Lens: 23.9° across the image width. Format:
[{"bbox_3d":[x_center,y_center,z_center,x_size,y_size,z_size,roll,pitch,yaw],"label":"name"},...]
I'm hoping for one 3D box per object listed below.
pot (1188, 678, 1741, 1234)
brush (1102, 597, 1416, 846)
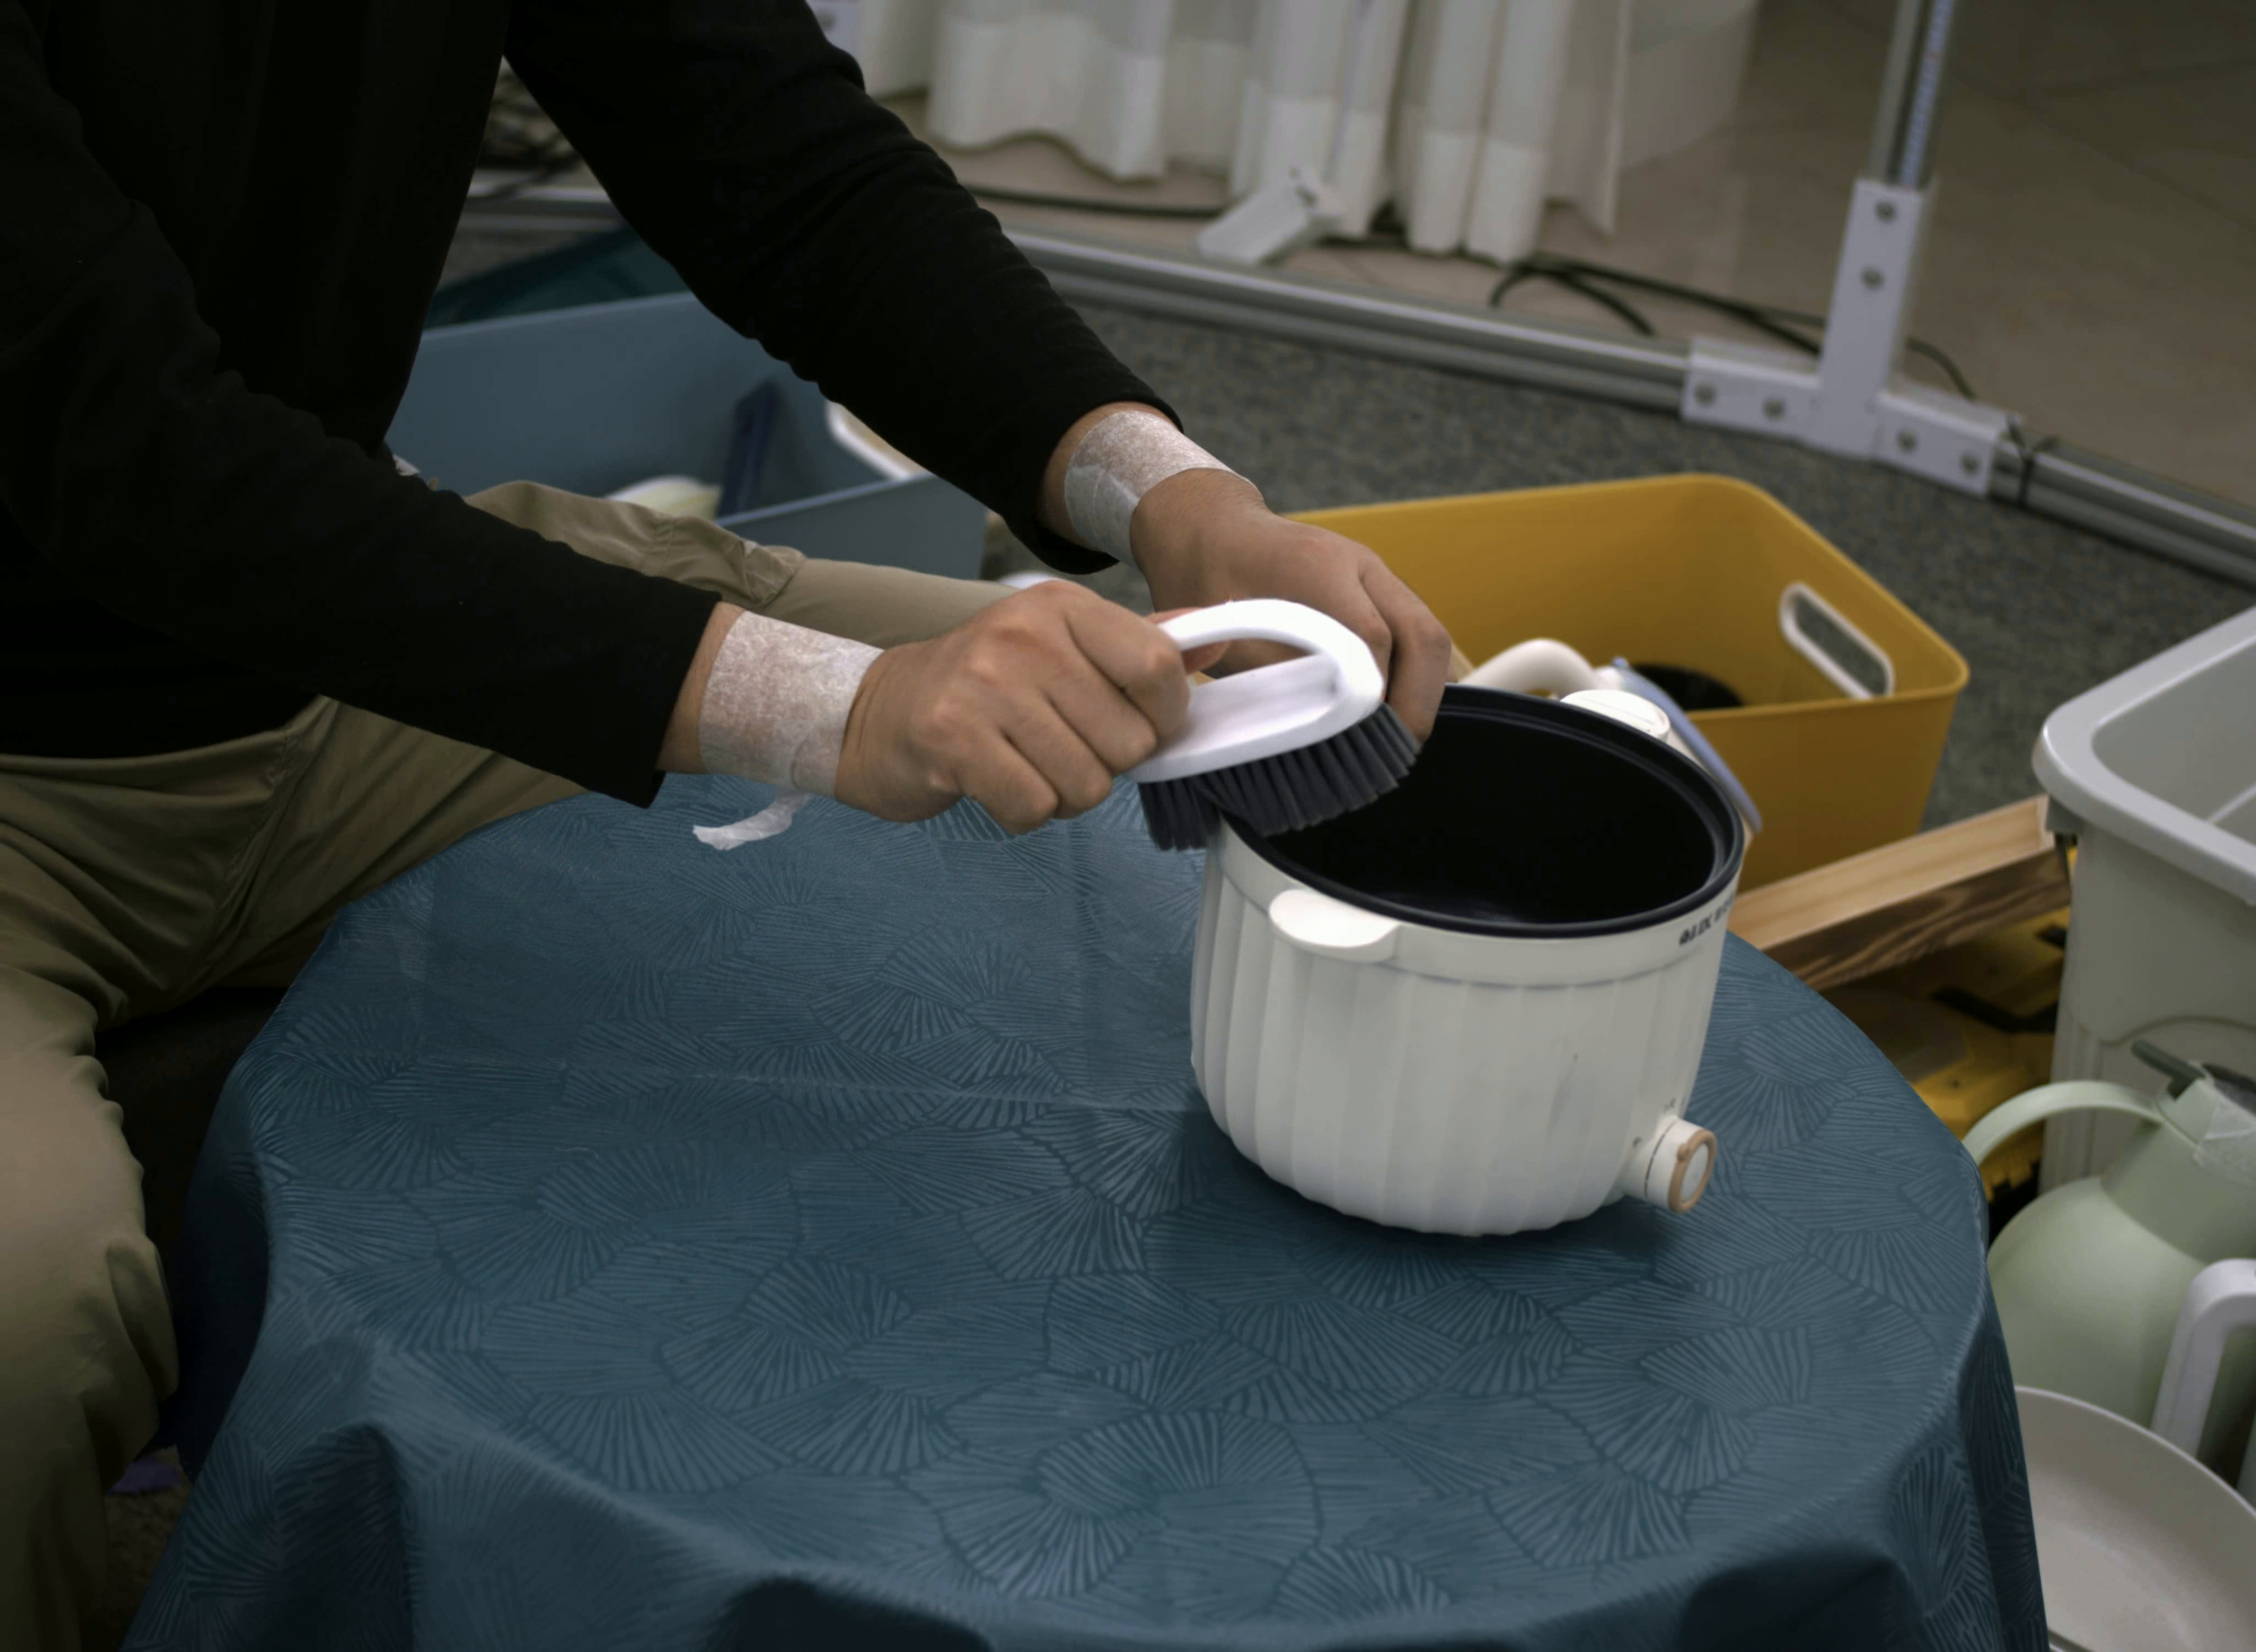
[{"bbox_3d":[0.116,0.050,1.820,0.191,0.142,0.240,18,30,27],"label":"pot"},{"bbox_3d":[0.037,-0.040,1.760,0.099,0.072,0.050,-13,29,28],"label":"brush"}]
